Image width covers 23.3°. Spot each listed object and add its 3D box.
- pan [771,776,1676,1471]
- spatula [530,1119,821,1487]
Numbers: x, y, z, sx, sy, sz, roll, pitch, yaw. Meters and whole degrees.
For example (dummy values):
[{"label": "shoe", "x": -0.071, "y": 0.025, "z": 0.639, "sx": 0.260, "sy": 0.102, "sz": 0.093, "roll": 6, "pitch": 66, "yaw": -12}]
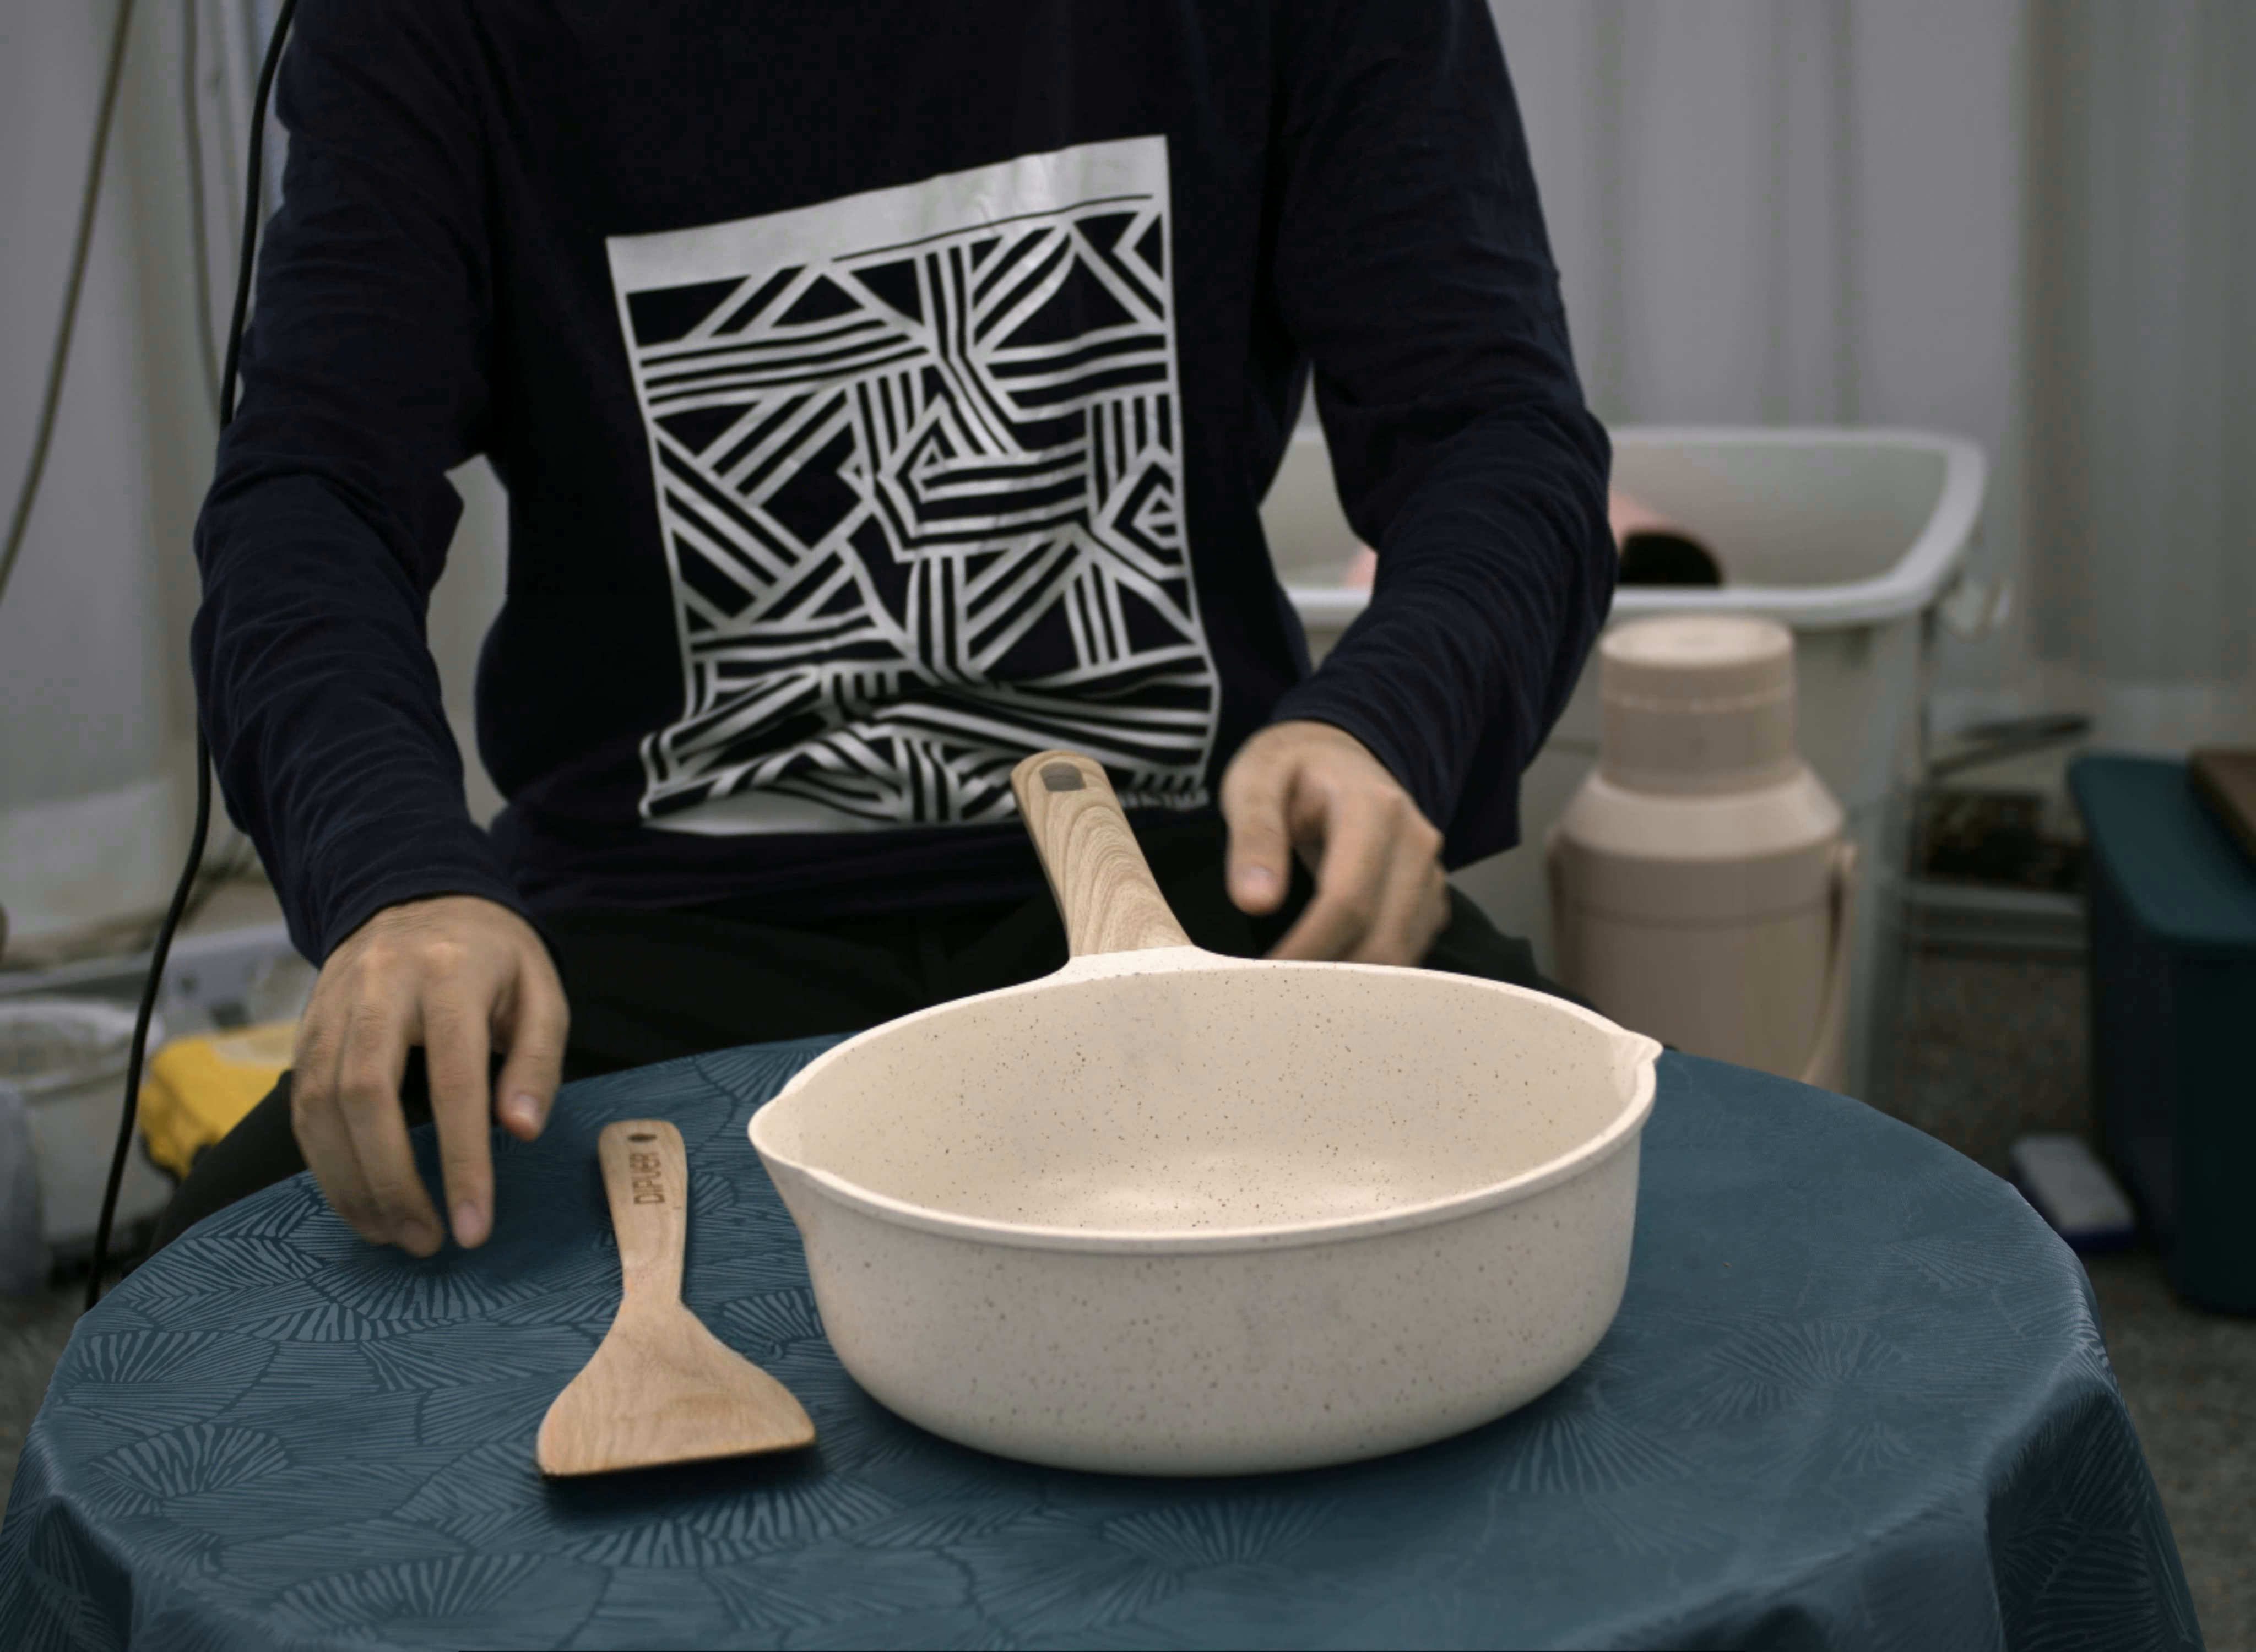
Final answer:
[{"label": "pan", "x": 0.015, "y": 0.083, "z": 1.647, "sx": 0.262, "sy": 0.101, "sz": 0.438, "roll": -6, "pitch": 15, "yaw": -9}, {"label": "spatula", "x": -0.140, "y": 0.138, "z": 1.629, "sx": 0.079, "sy": 0.016, "sz": 0.330, "roll": -4, "pitch": 16, "yaw": -6}]
